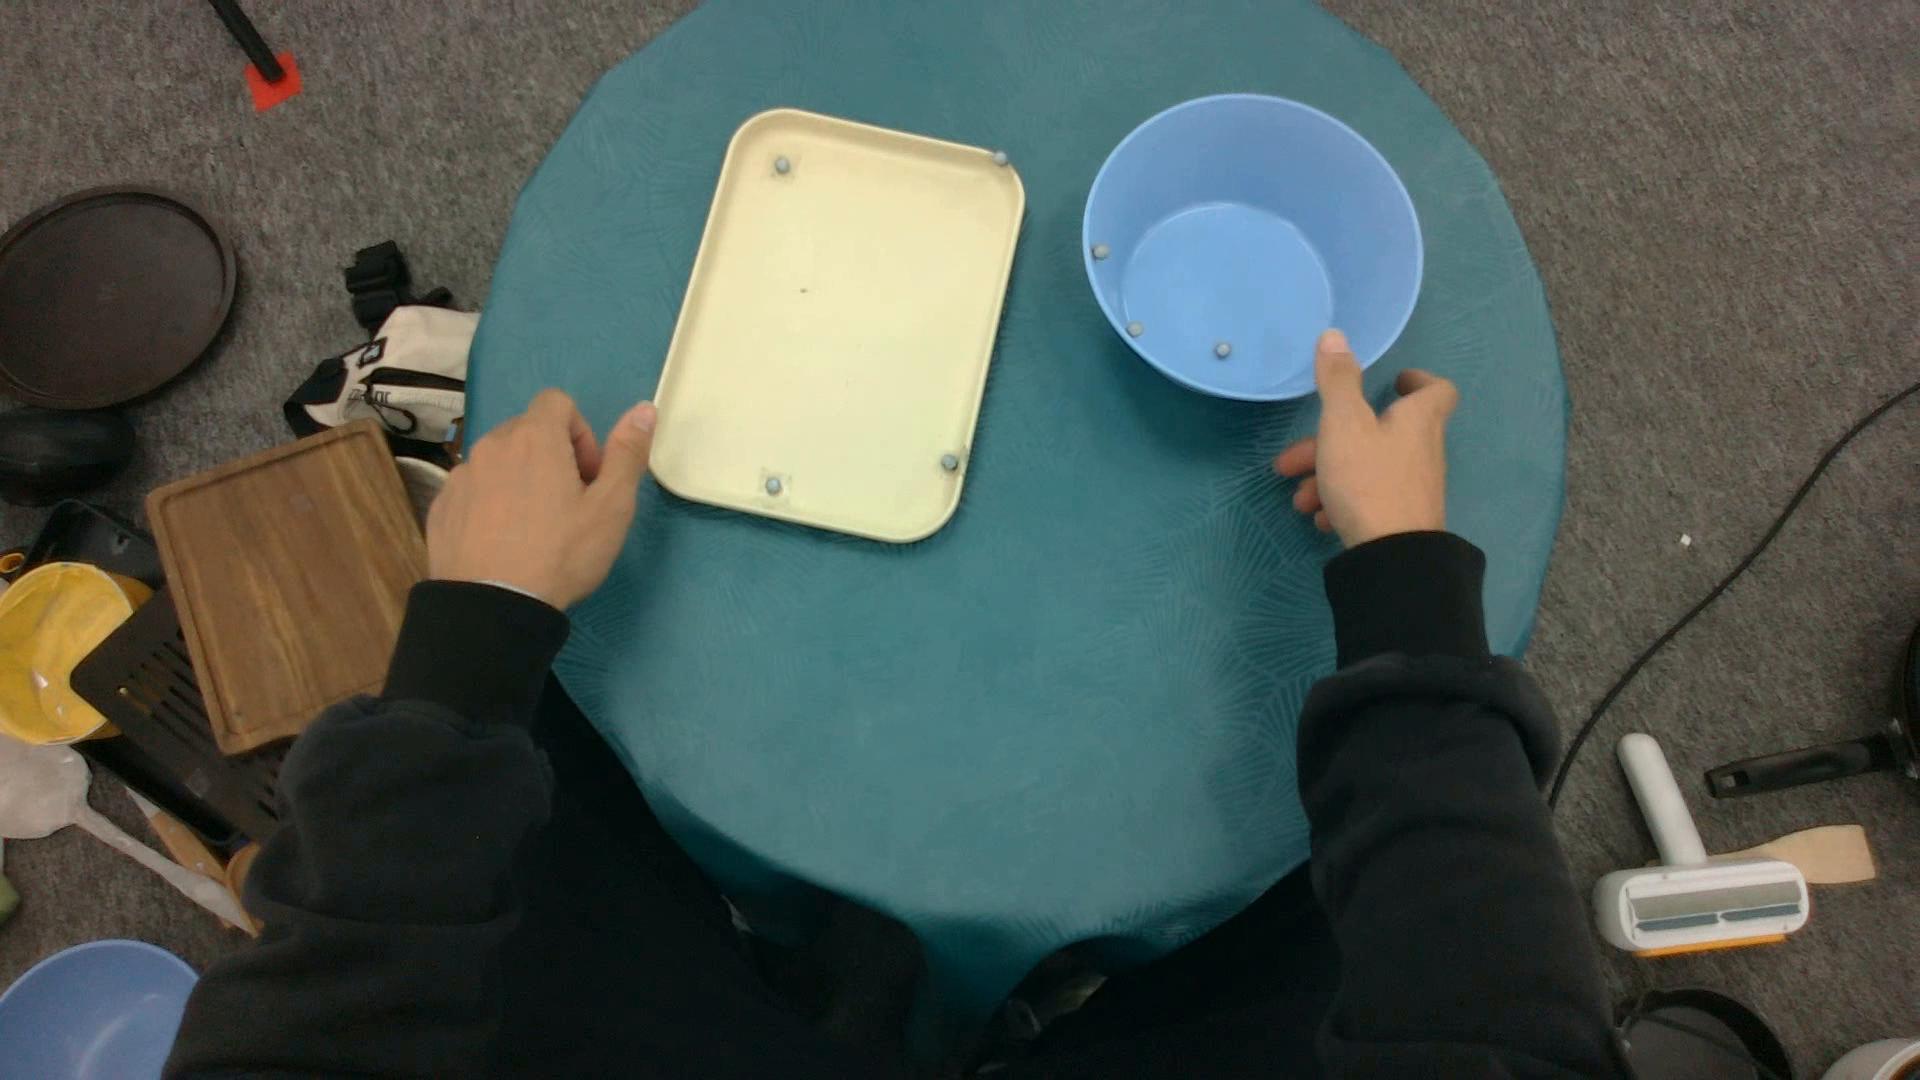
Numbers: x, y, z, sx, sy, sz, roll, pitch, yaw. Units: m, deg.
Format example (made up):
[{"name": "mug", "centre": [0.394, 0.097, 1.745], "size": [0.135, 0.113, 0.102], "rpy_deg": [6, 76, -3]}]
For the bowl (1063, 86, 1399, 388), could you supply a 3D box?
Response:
[{"name": "bowl", "centre": [0.140, -0.151, 0.745], "size": [0.176, 0.070, 0.176], "rpy_deg": [1, 72, -2]}]

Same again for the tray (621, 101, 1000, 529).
[{"name": "tray", "centre": [-0.078, -0.126, 0.752], "size": [0.171, 0.017, 0.240], "rpy_deg": [11, 72, 1]}]
